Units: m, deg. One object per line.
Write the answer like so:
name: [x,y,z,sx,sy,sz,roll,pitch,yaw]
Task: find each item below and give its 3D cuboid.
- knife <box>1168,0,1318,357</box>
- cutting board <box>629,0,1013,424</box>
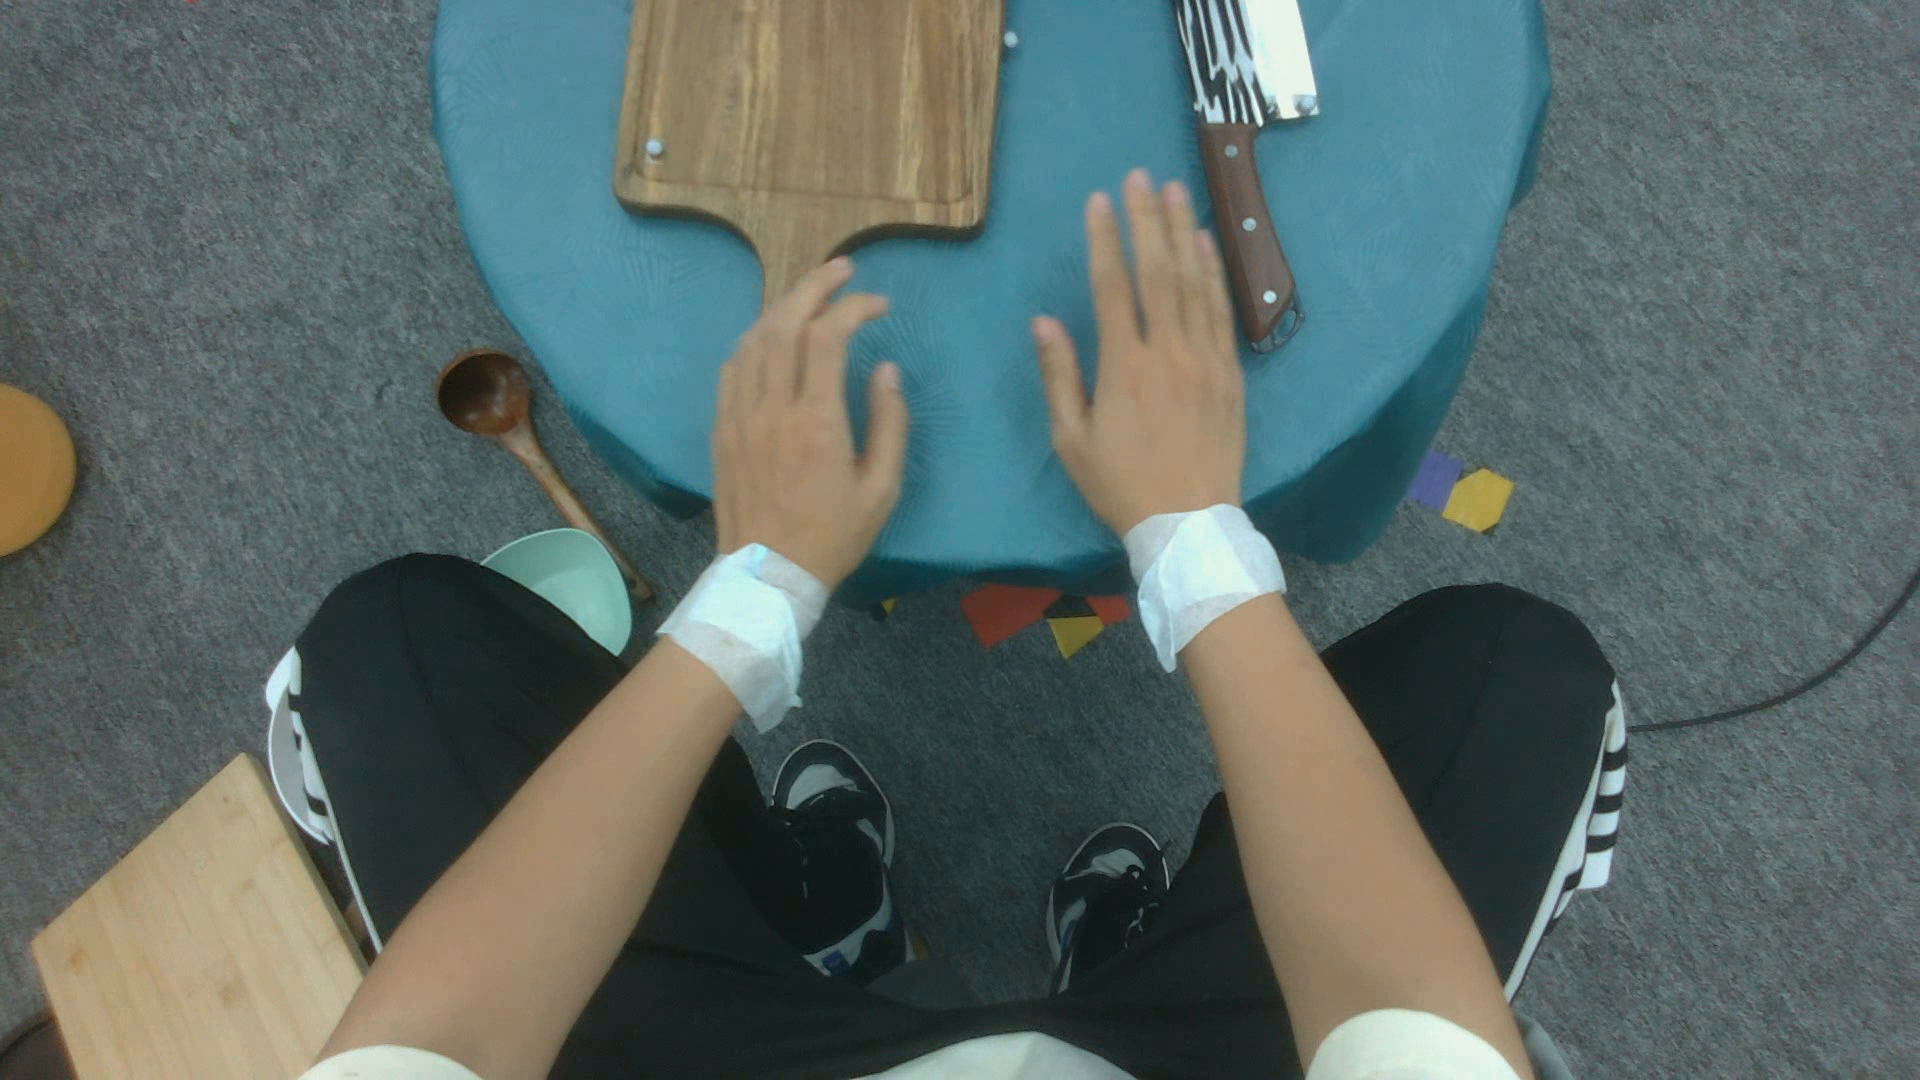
knife: [0.157,-0.244,0.749,0.068,0.024,0.300,-8,77,-3]
cutting board: [-0.076,-0.236,0.753,0.201,0.023,0.352,4,80,2]
